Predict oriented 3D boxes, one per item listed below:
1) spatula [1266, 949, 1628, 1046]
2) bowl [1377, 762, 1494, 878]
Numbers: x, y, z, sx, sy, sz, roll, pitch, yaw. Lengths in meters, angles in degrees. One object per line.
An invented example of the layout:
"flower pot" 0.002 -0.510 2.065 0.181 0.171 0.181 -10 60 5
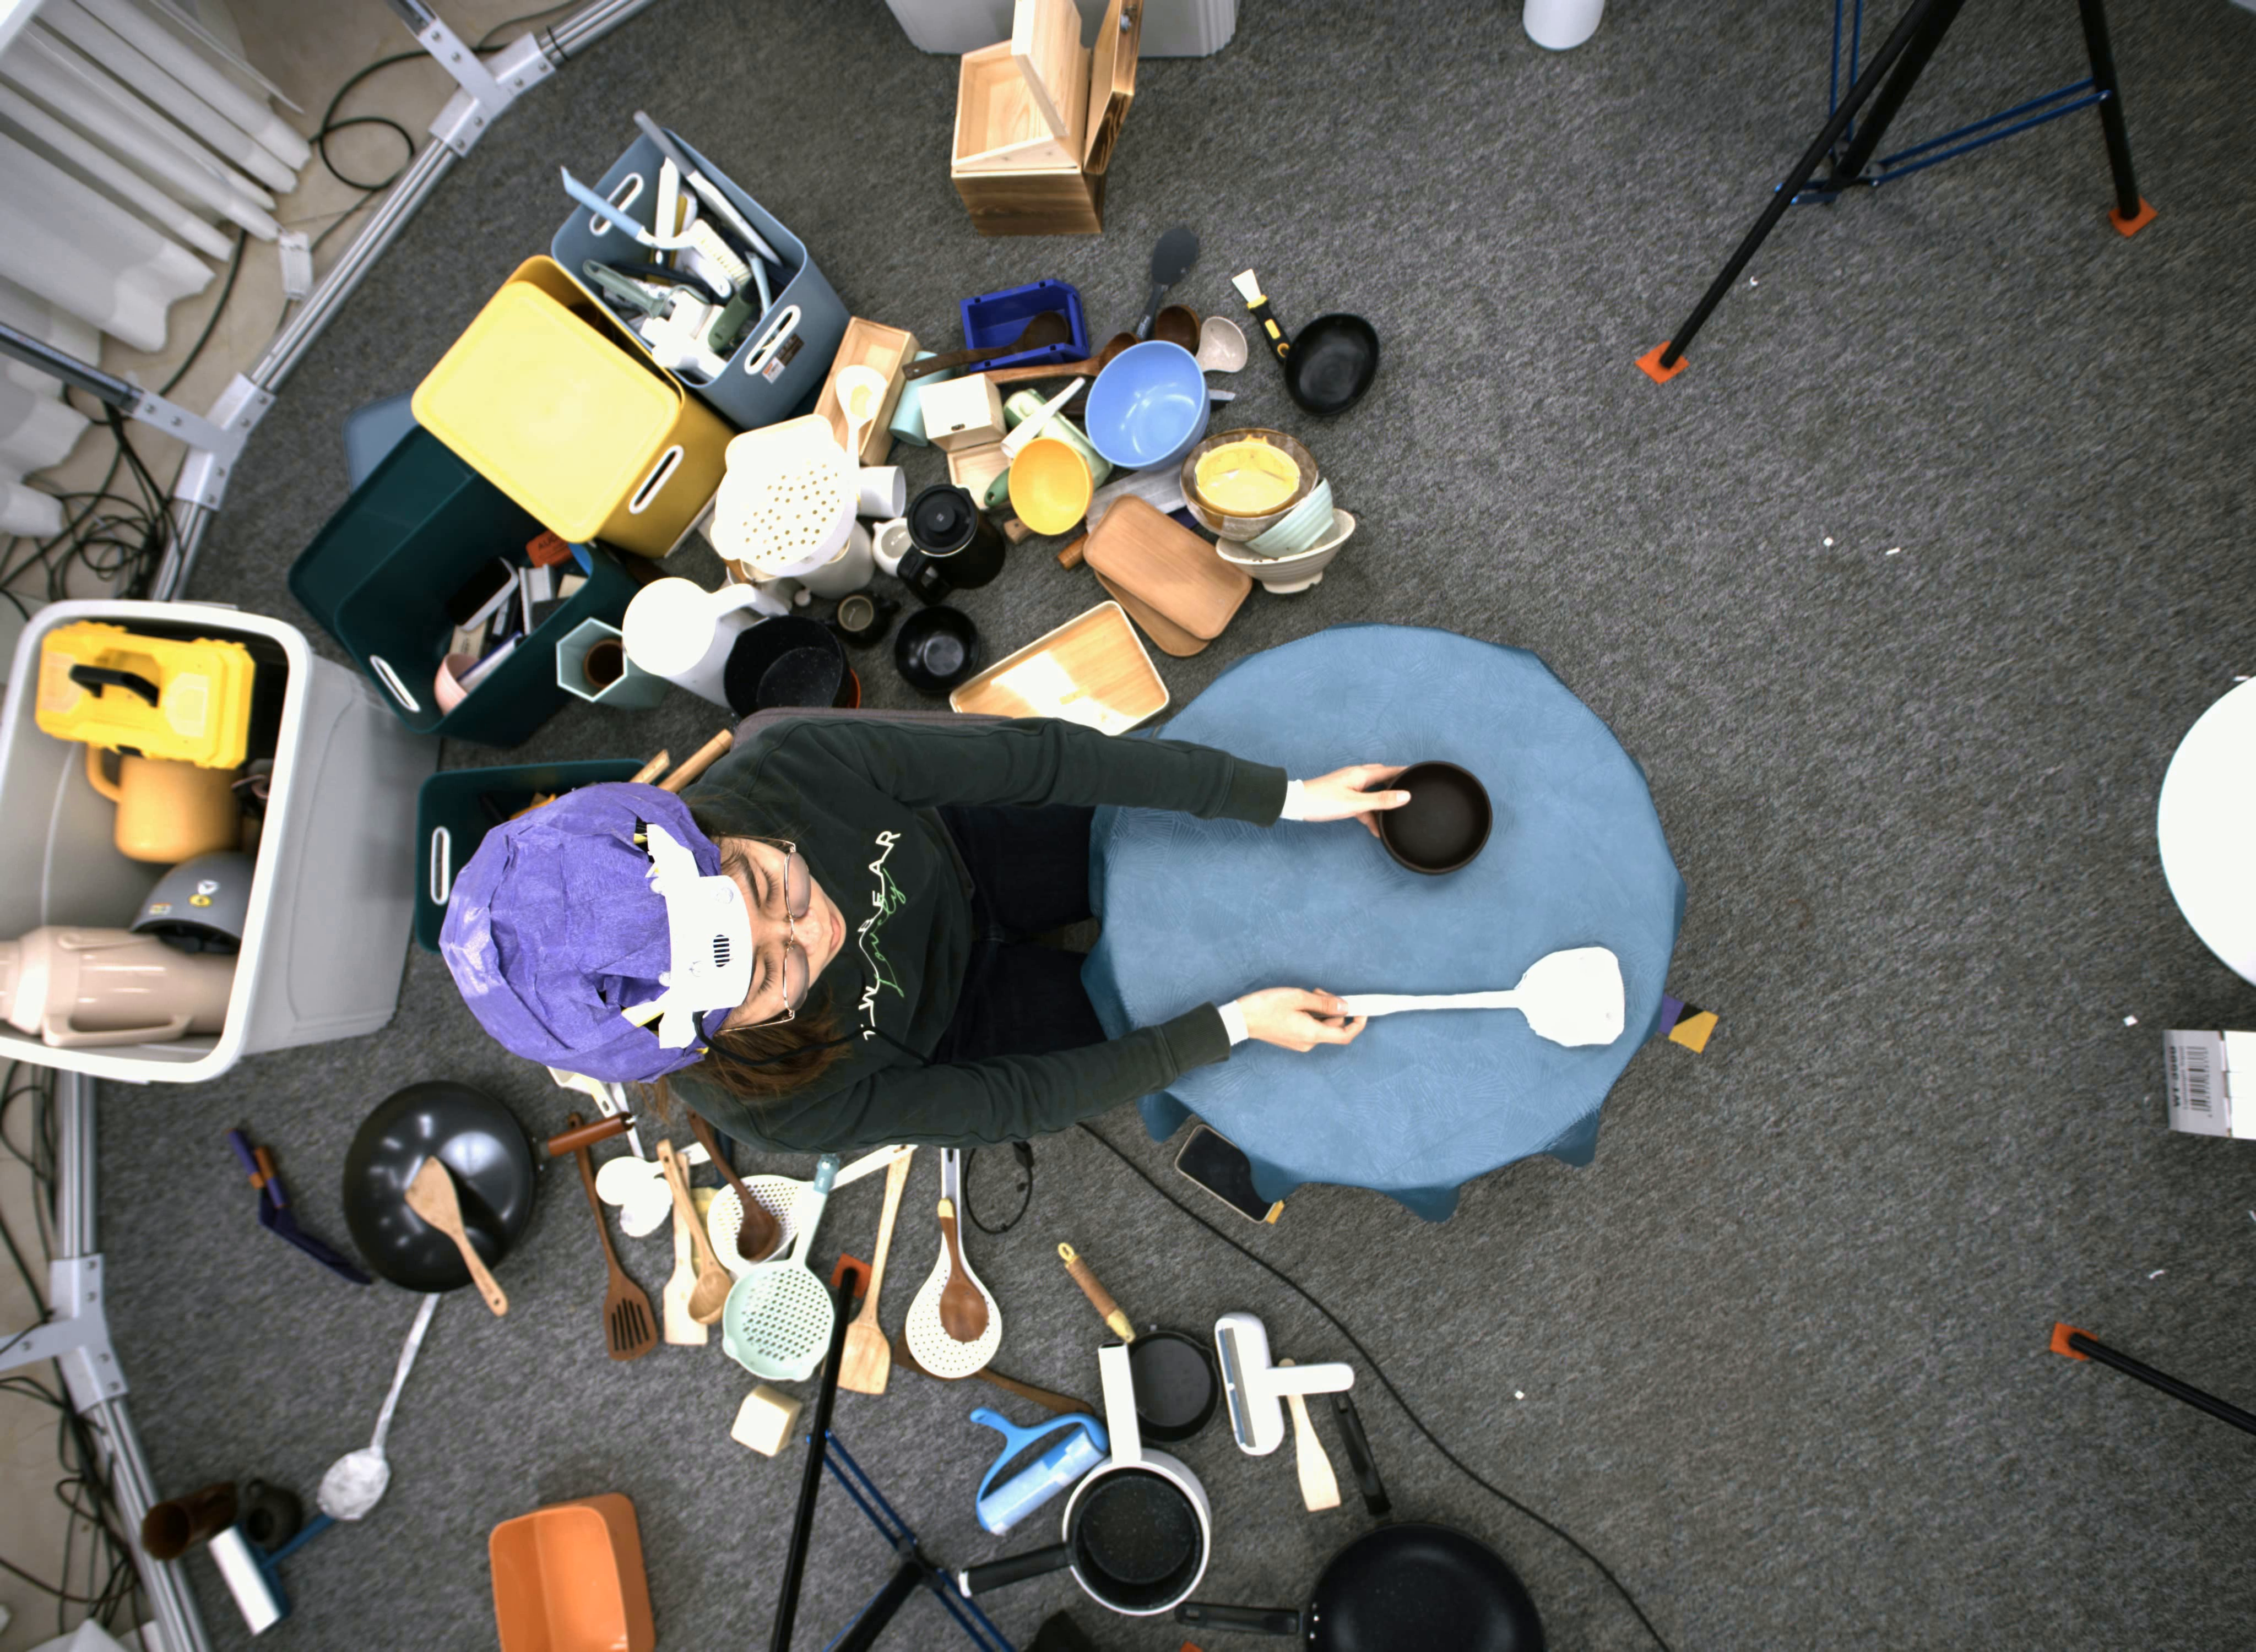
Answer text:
"spatula" 0.324 0.178 1.423 0.366 0.045 0.098 -2 86 7
"bowl" 0.317 -0.005 1.425 0.118 0.070 0.117 -1 83 11
